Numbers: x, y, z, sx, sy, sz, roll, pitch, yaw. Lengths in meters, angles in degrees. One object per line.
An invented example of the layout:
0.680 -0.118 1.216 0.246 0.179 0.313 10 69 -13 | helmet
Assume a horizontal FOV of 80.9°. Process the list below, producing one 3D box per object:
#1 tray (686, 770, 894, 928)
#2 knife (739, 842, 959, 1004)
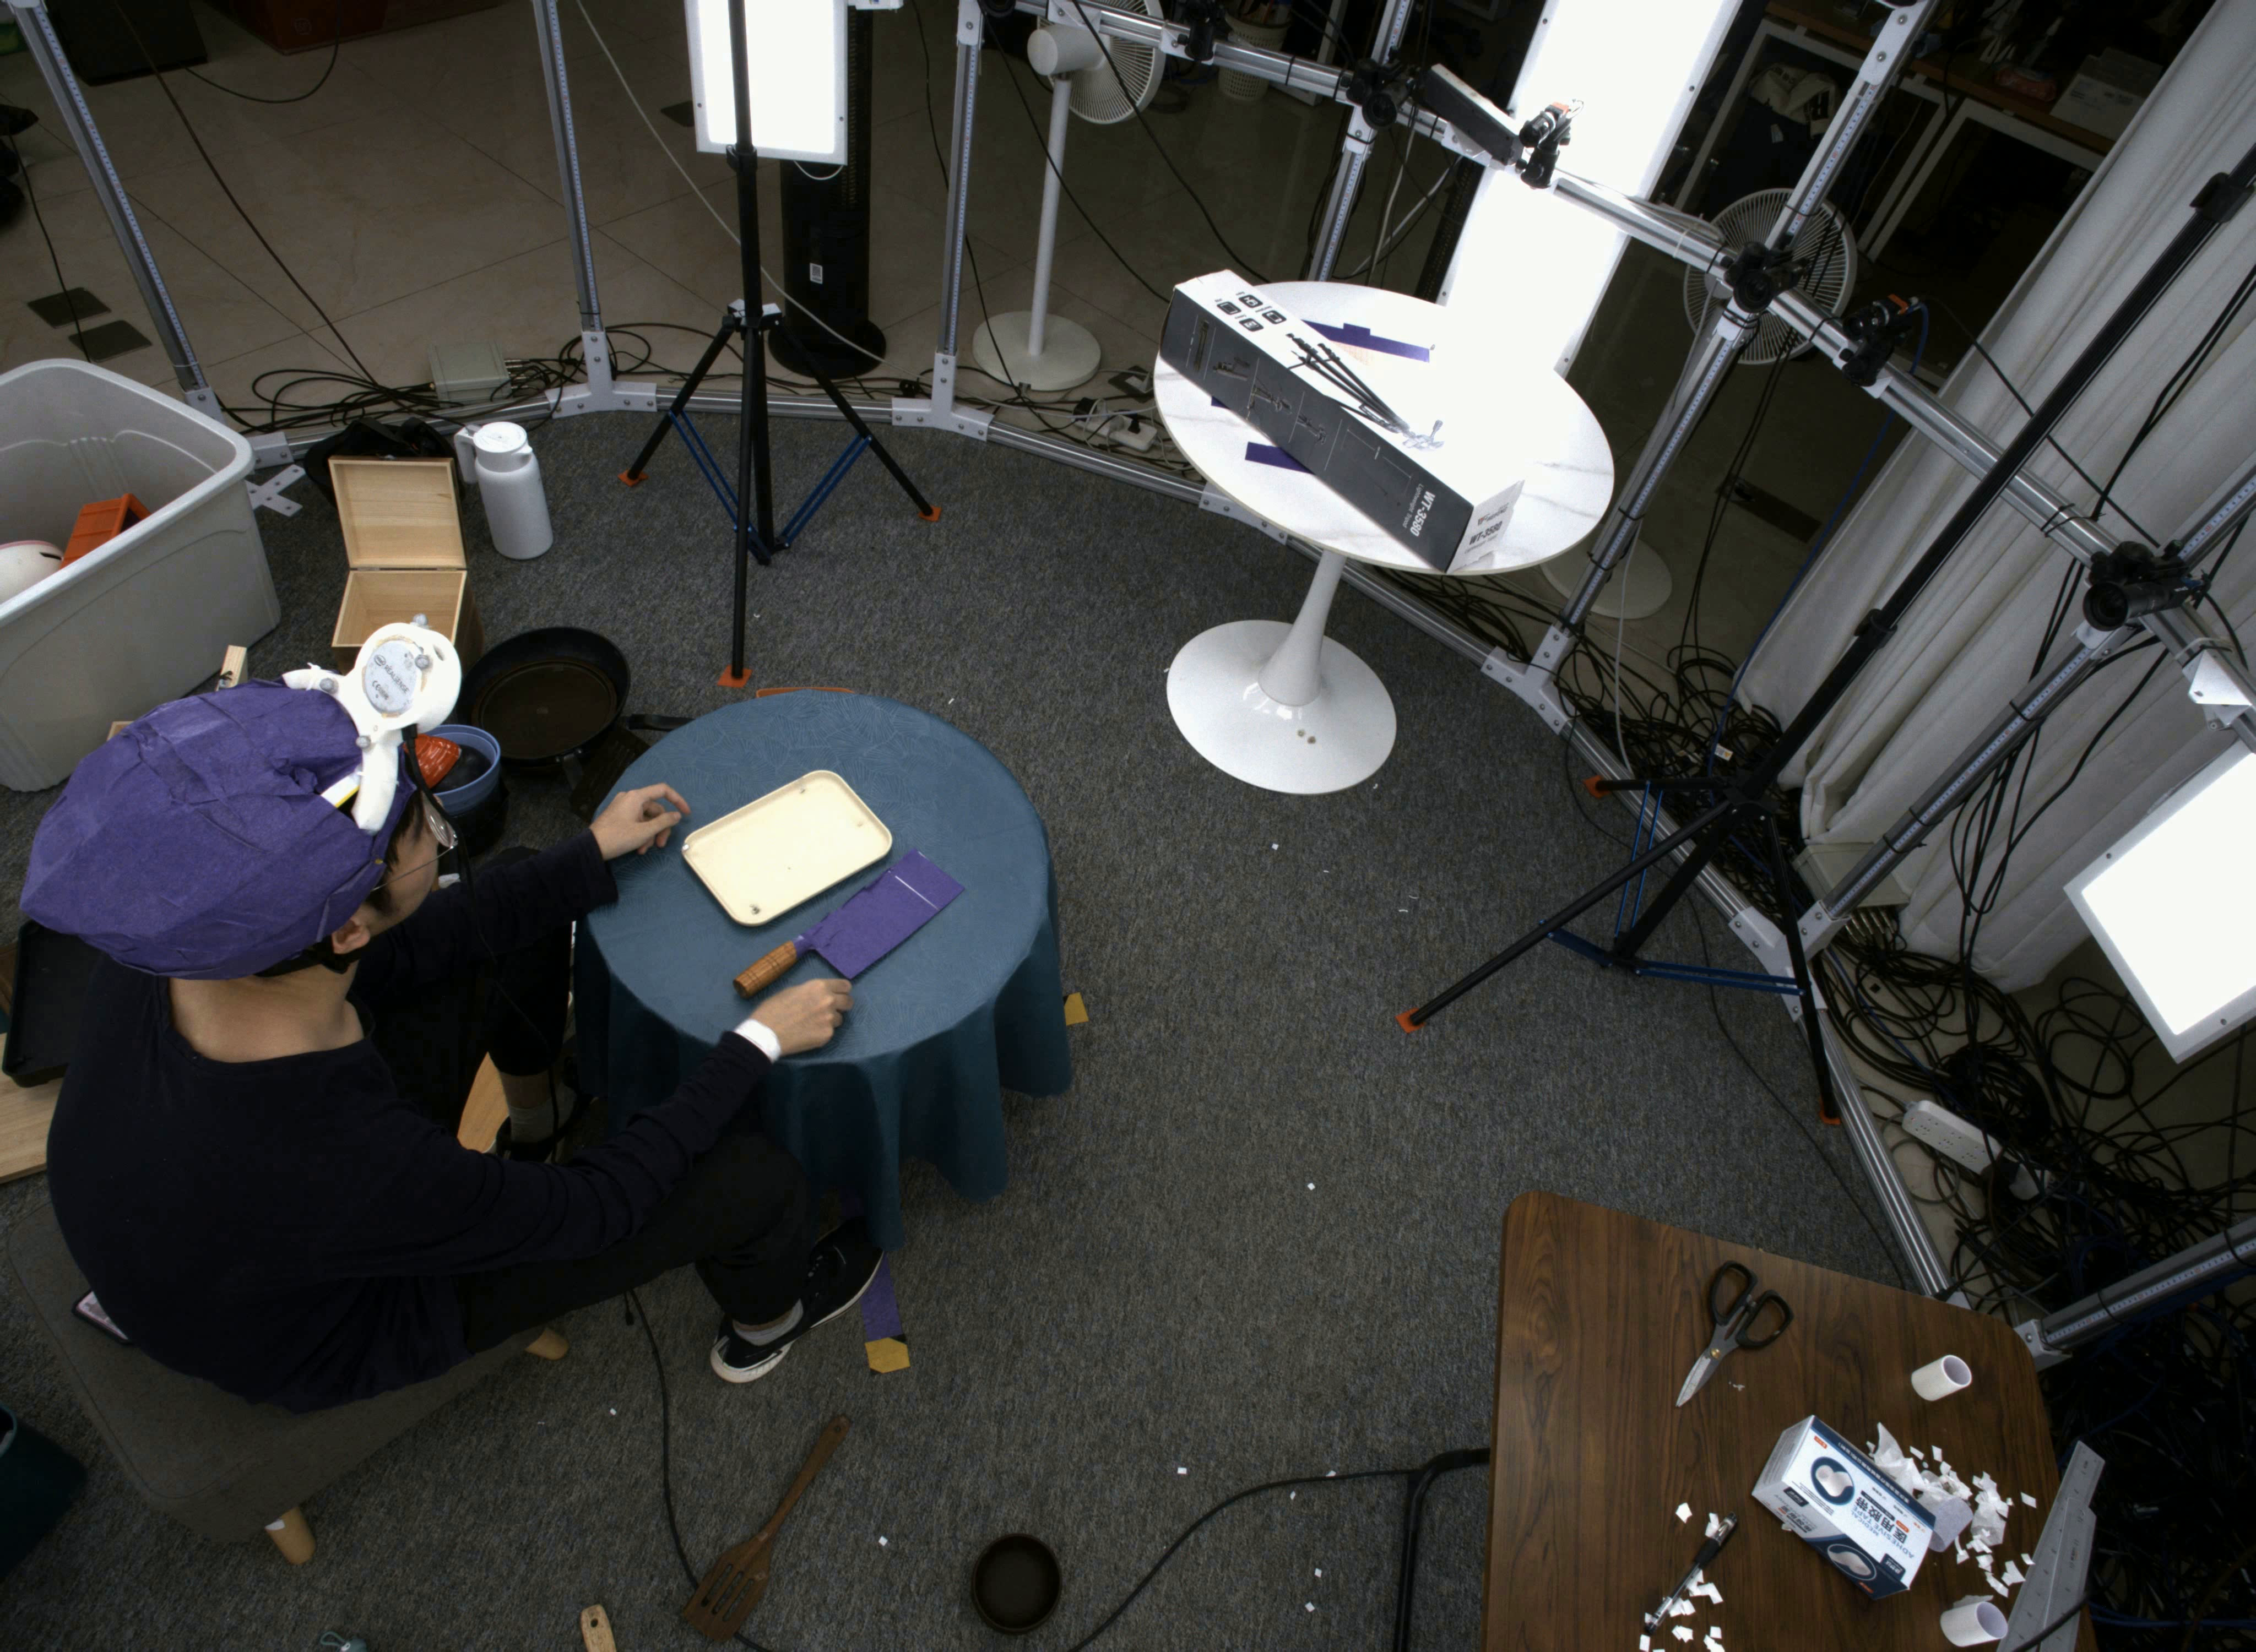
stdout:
-0.441 0.027 1.700 0.240 0.018 0.167 -32 68 -31 | tray
-0.343 0.131 1.641 0.102 0.033 0.315 37 54 14 | knife
